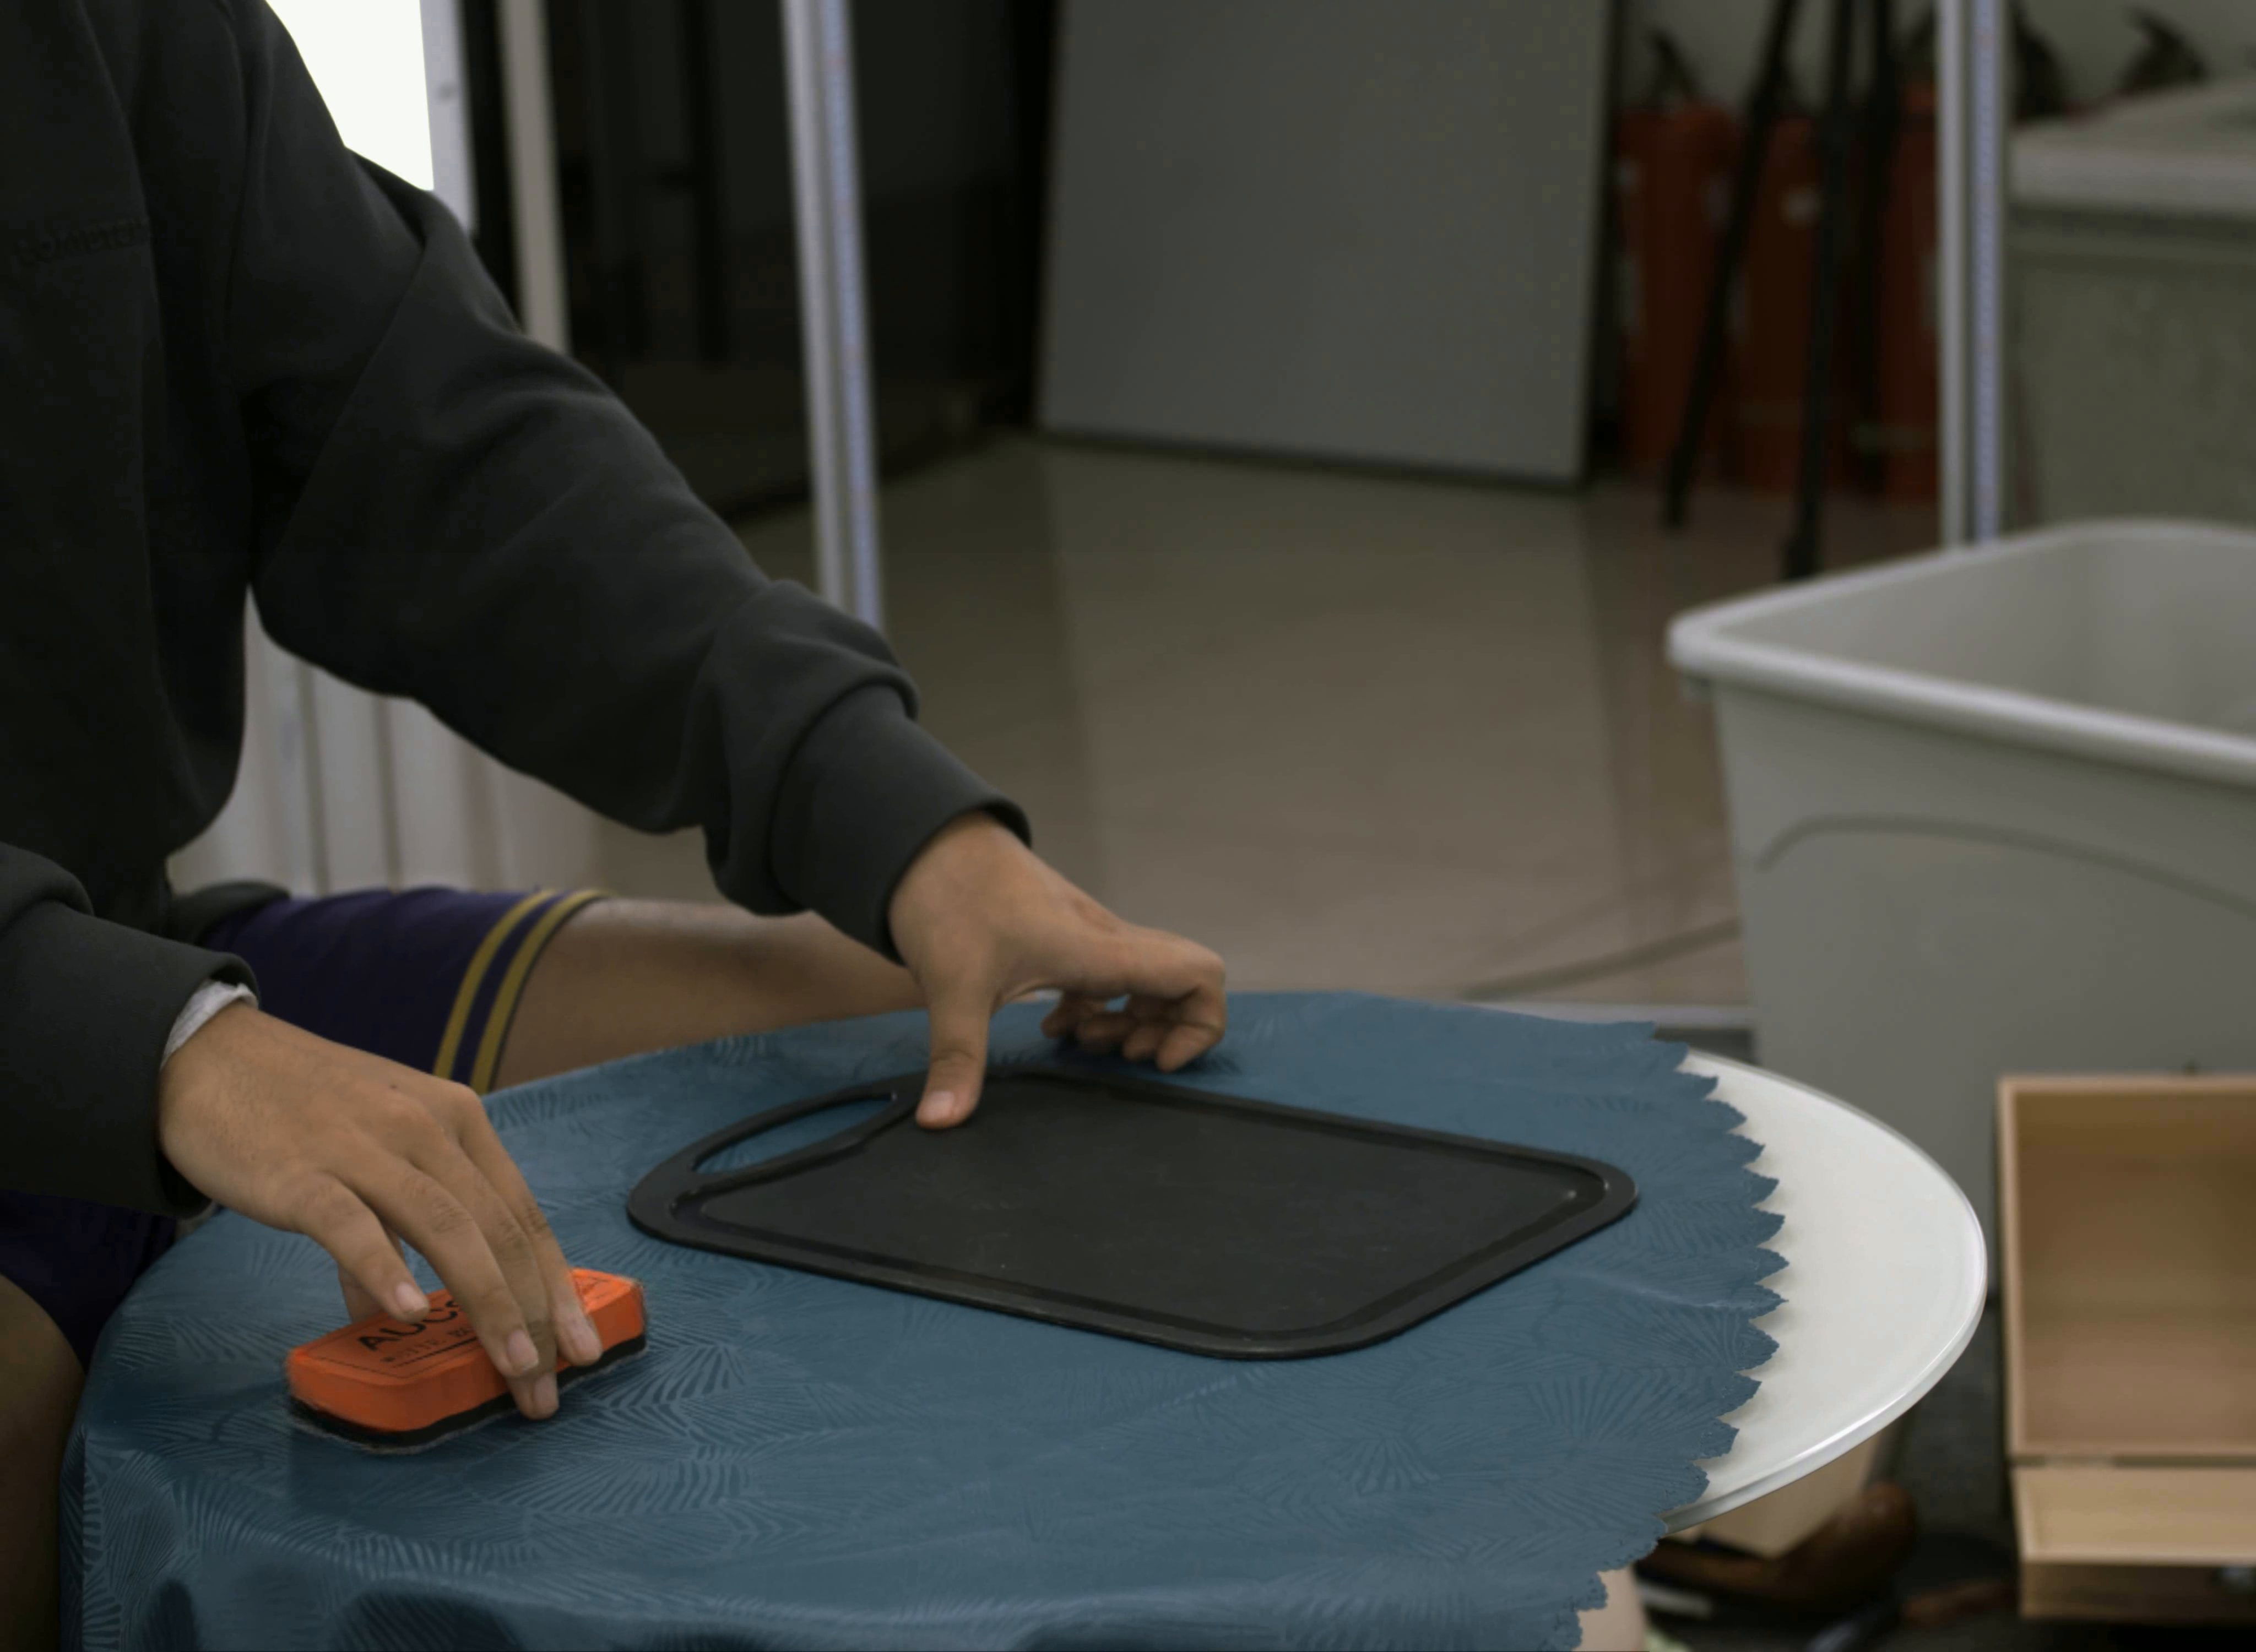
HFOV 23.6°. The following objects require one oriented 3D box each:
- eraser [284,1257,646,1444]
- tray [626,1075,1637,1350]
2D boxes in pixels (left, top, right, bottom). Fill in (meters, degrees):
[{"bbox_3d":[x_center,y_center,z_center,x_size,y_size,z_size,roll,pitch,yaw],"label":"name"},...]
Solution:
[{"bbox_3d":[-0.197,0.156,1.620,0.059,0.023,0.106,7,16,39],"label":"eraser"},{"bbox_3d":[-0.008,0.121,1.760,0.328,0.010,0.207,7,17,39],"label":"tray"}]
